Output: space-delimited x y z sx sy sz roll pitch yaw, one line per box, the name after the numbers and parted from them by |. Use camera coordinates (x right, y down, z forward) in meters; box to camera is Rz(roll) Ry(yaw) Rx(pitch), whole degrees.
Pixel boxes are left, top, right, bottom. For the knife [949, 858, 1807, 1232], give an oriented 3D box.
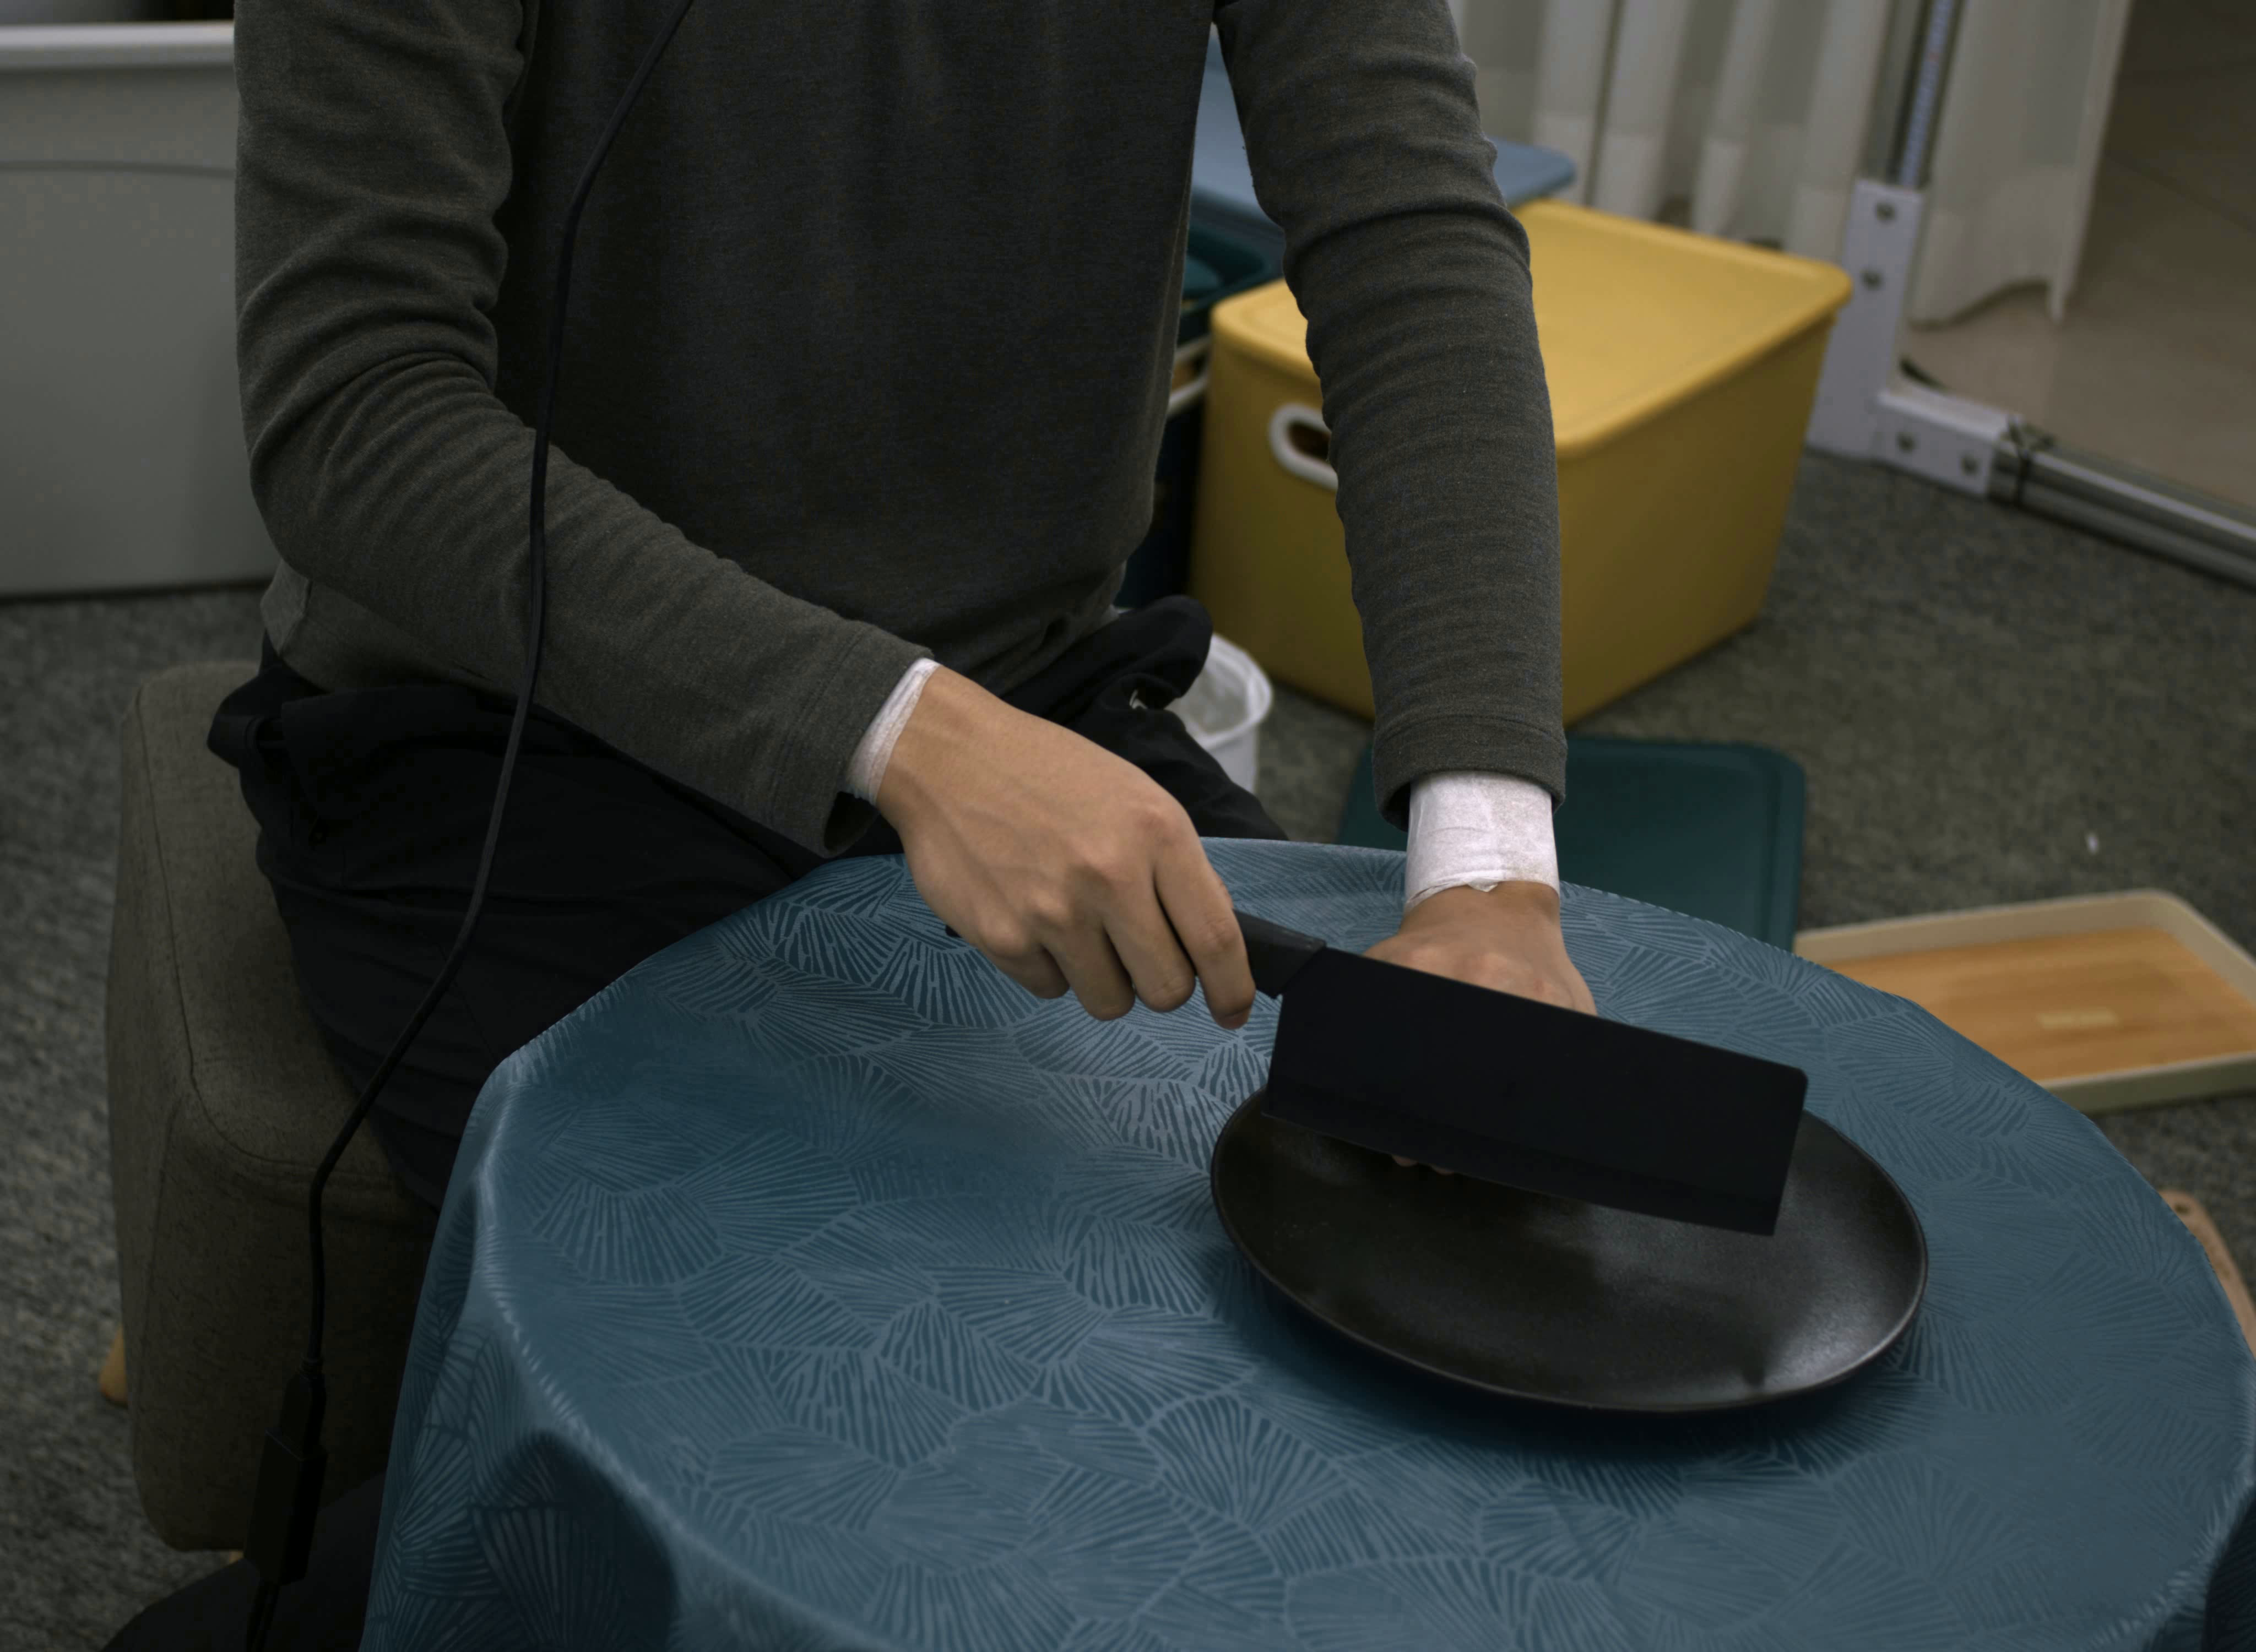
0.081 0.071 1.799 0.303 0.081 0.021 18 18 14 | knife

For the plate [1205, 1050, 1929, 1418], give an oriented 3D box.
0.147 0.137 1.786 0.243 0.023 0.246 5 27 -3 | plate
